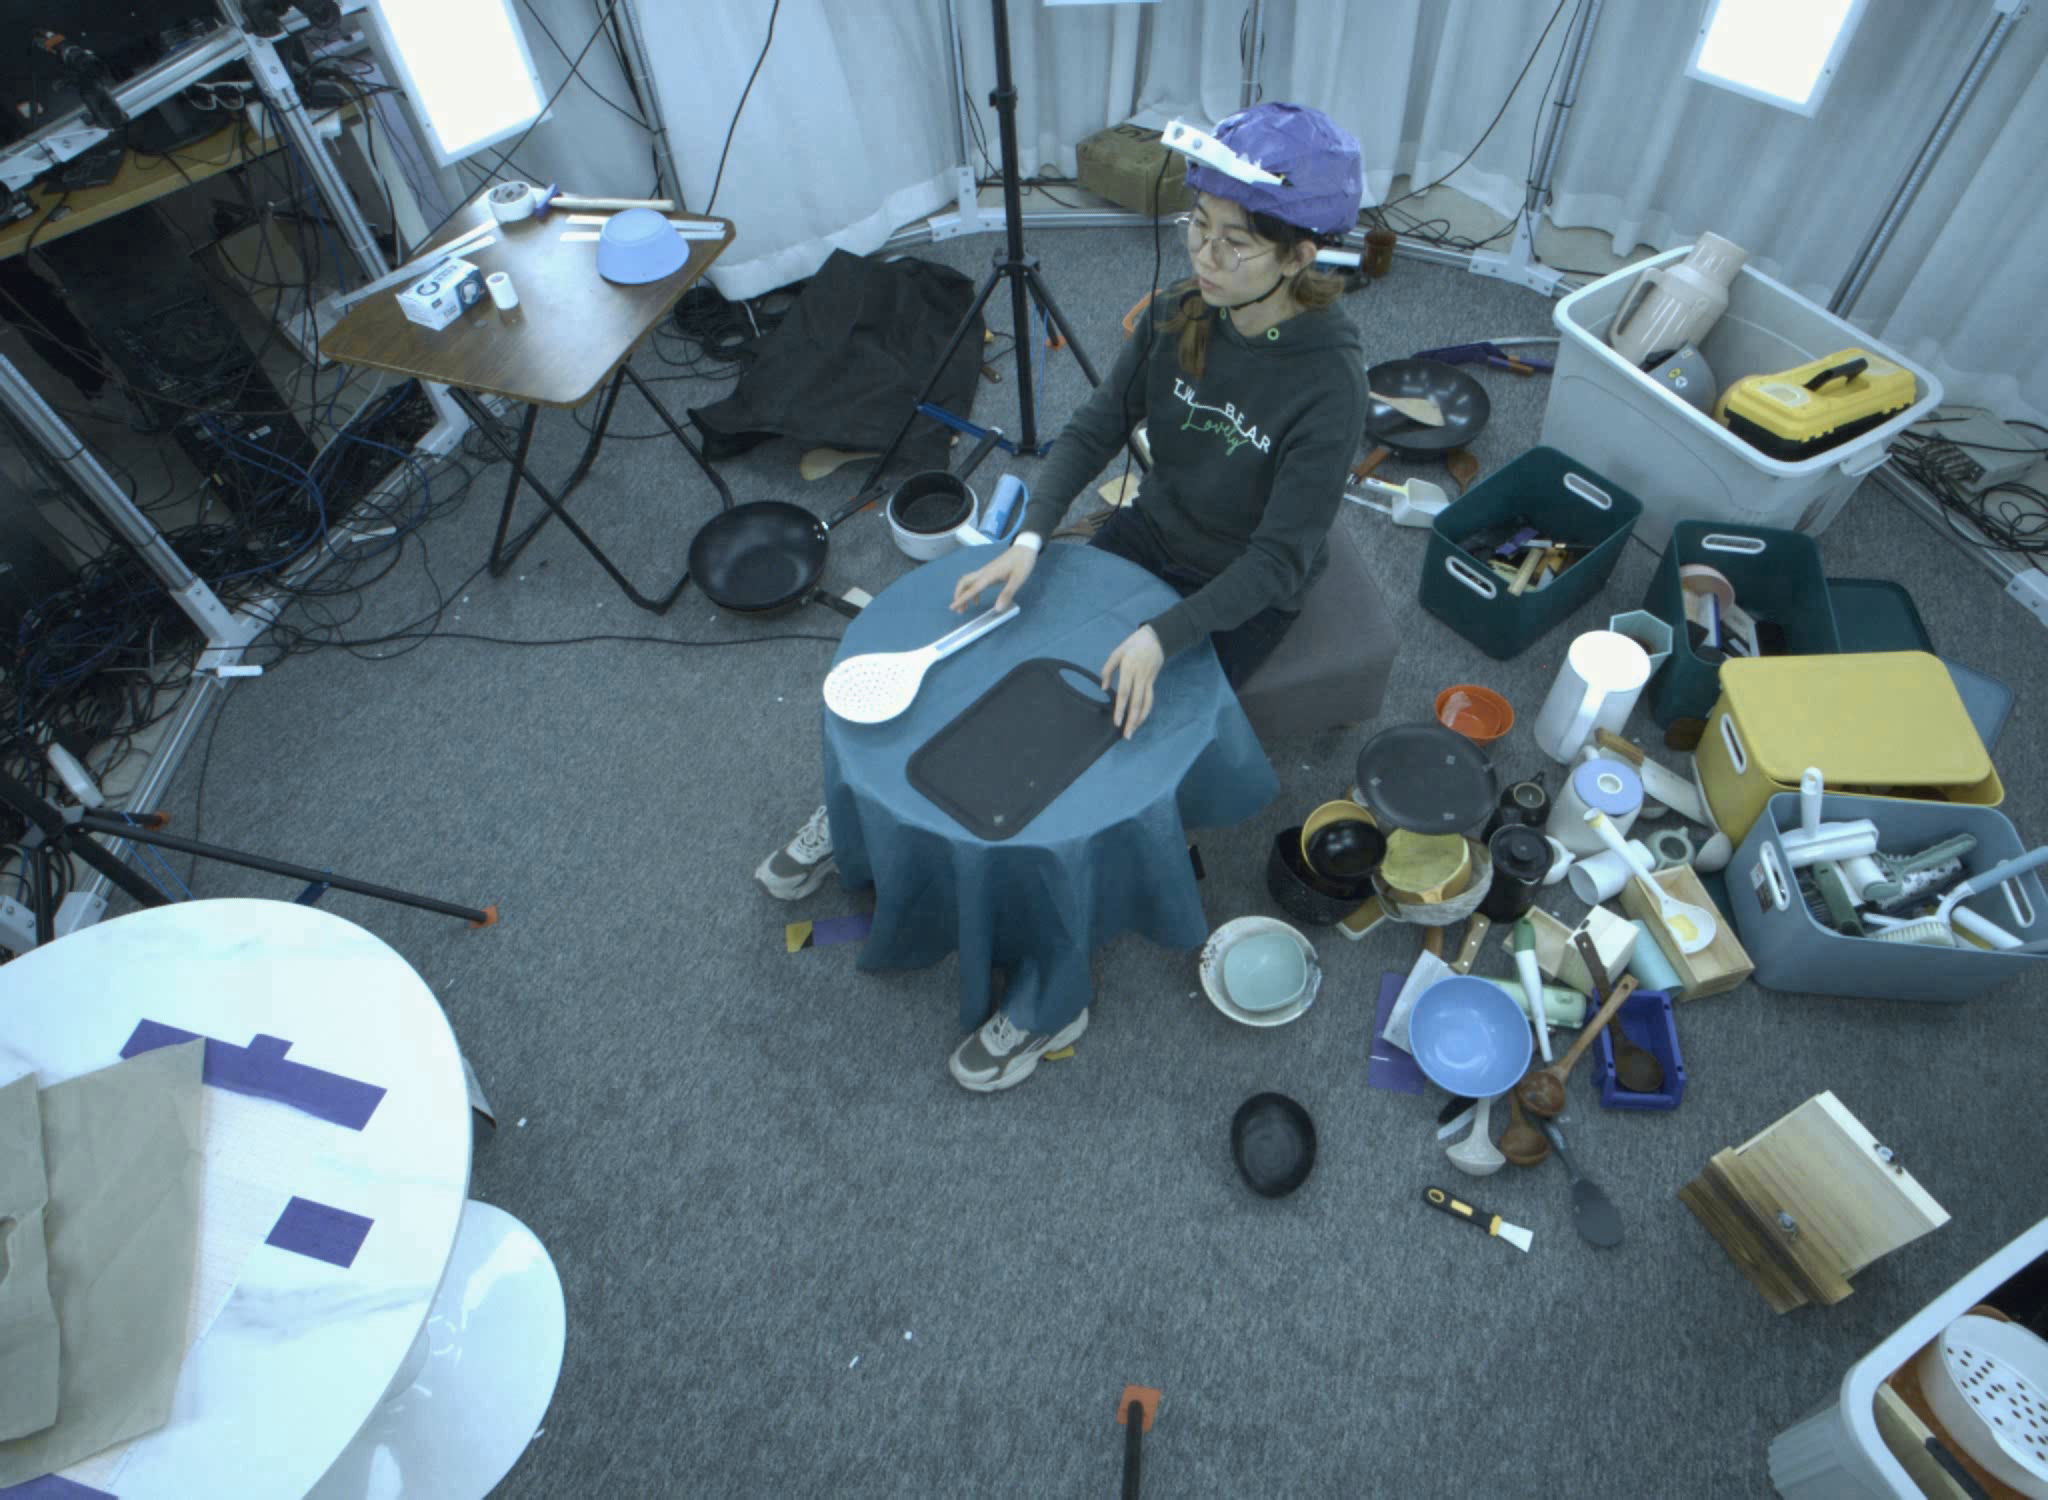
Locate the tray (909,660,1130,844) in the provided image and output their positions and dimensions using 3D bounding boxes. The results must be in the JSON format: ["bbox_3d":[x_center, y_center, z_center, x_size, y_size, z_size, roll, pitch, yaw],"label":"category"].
[{"bbox_3d":[-0.001,-0.010,1.801,0.207,0.010,0.327,37,63,24],"label":"tray"}]

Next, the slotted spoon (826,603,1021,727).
[{"bbox_3d":[-0.145,-0.138,1.871,0.352,0.046,0.133,-36,63,-22],"label":"slotted spoon"}]
